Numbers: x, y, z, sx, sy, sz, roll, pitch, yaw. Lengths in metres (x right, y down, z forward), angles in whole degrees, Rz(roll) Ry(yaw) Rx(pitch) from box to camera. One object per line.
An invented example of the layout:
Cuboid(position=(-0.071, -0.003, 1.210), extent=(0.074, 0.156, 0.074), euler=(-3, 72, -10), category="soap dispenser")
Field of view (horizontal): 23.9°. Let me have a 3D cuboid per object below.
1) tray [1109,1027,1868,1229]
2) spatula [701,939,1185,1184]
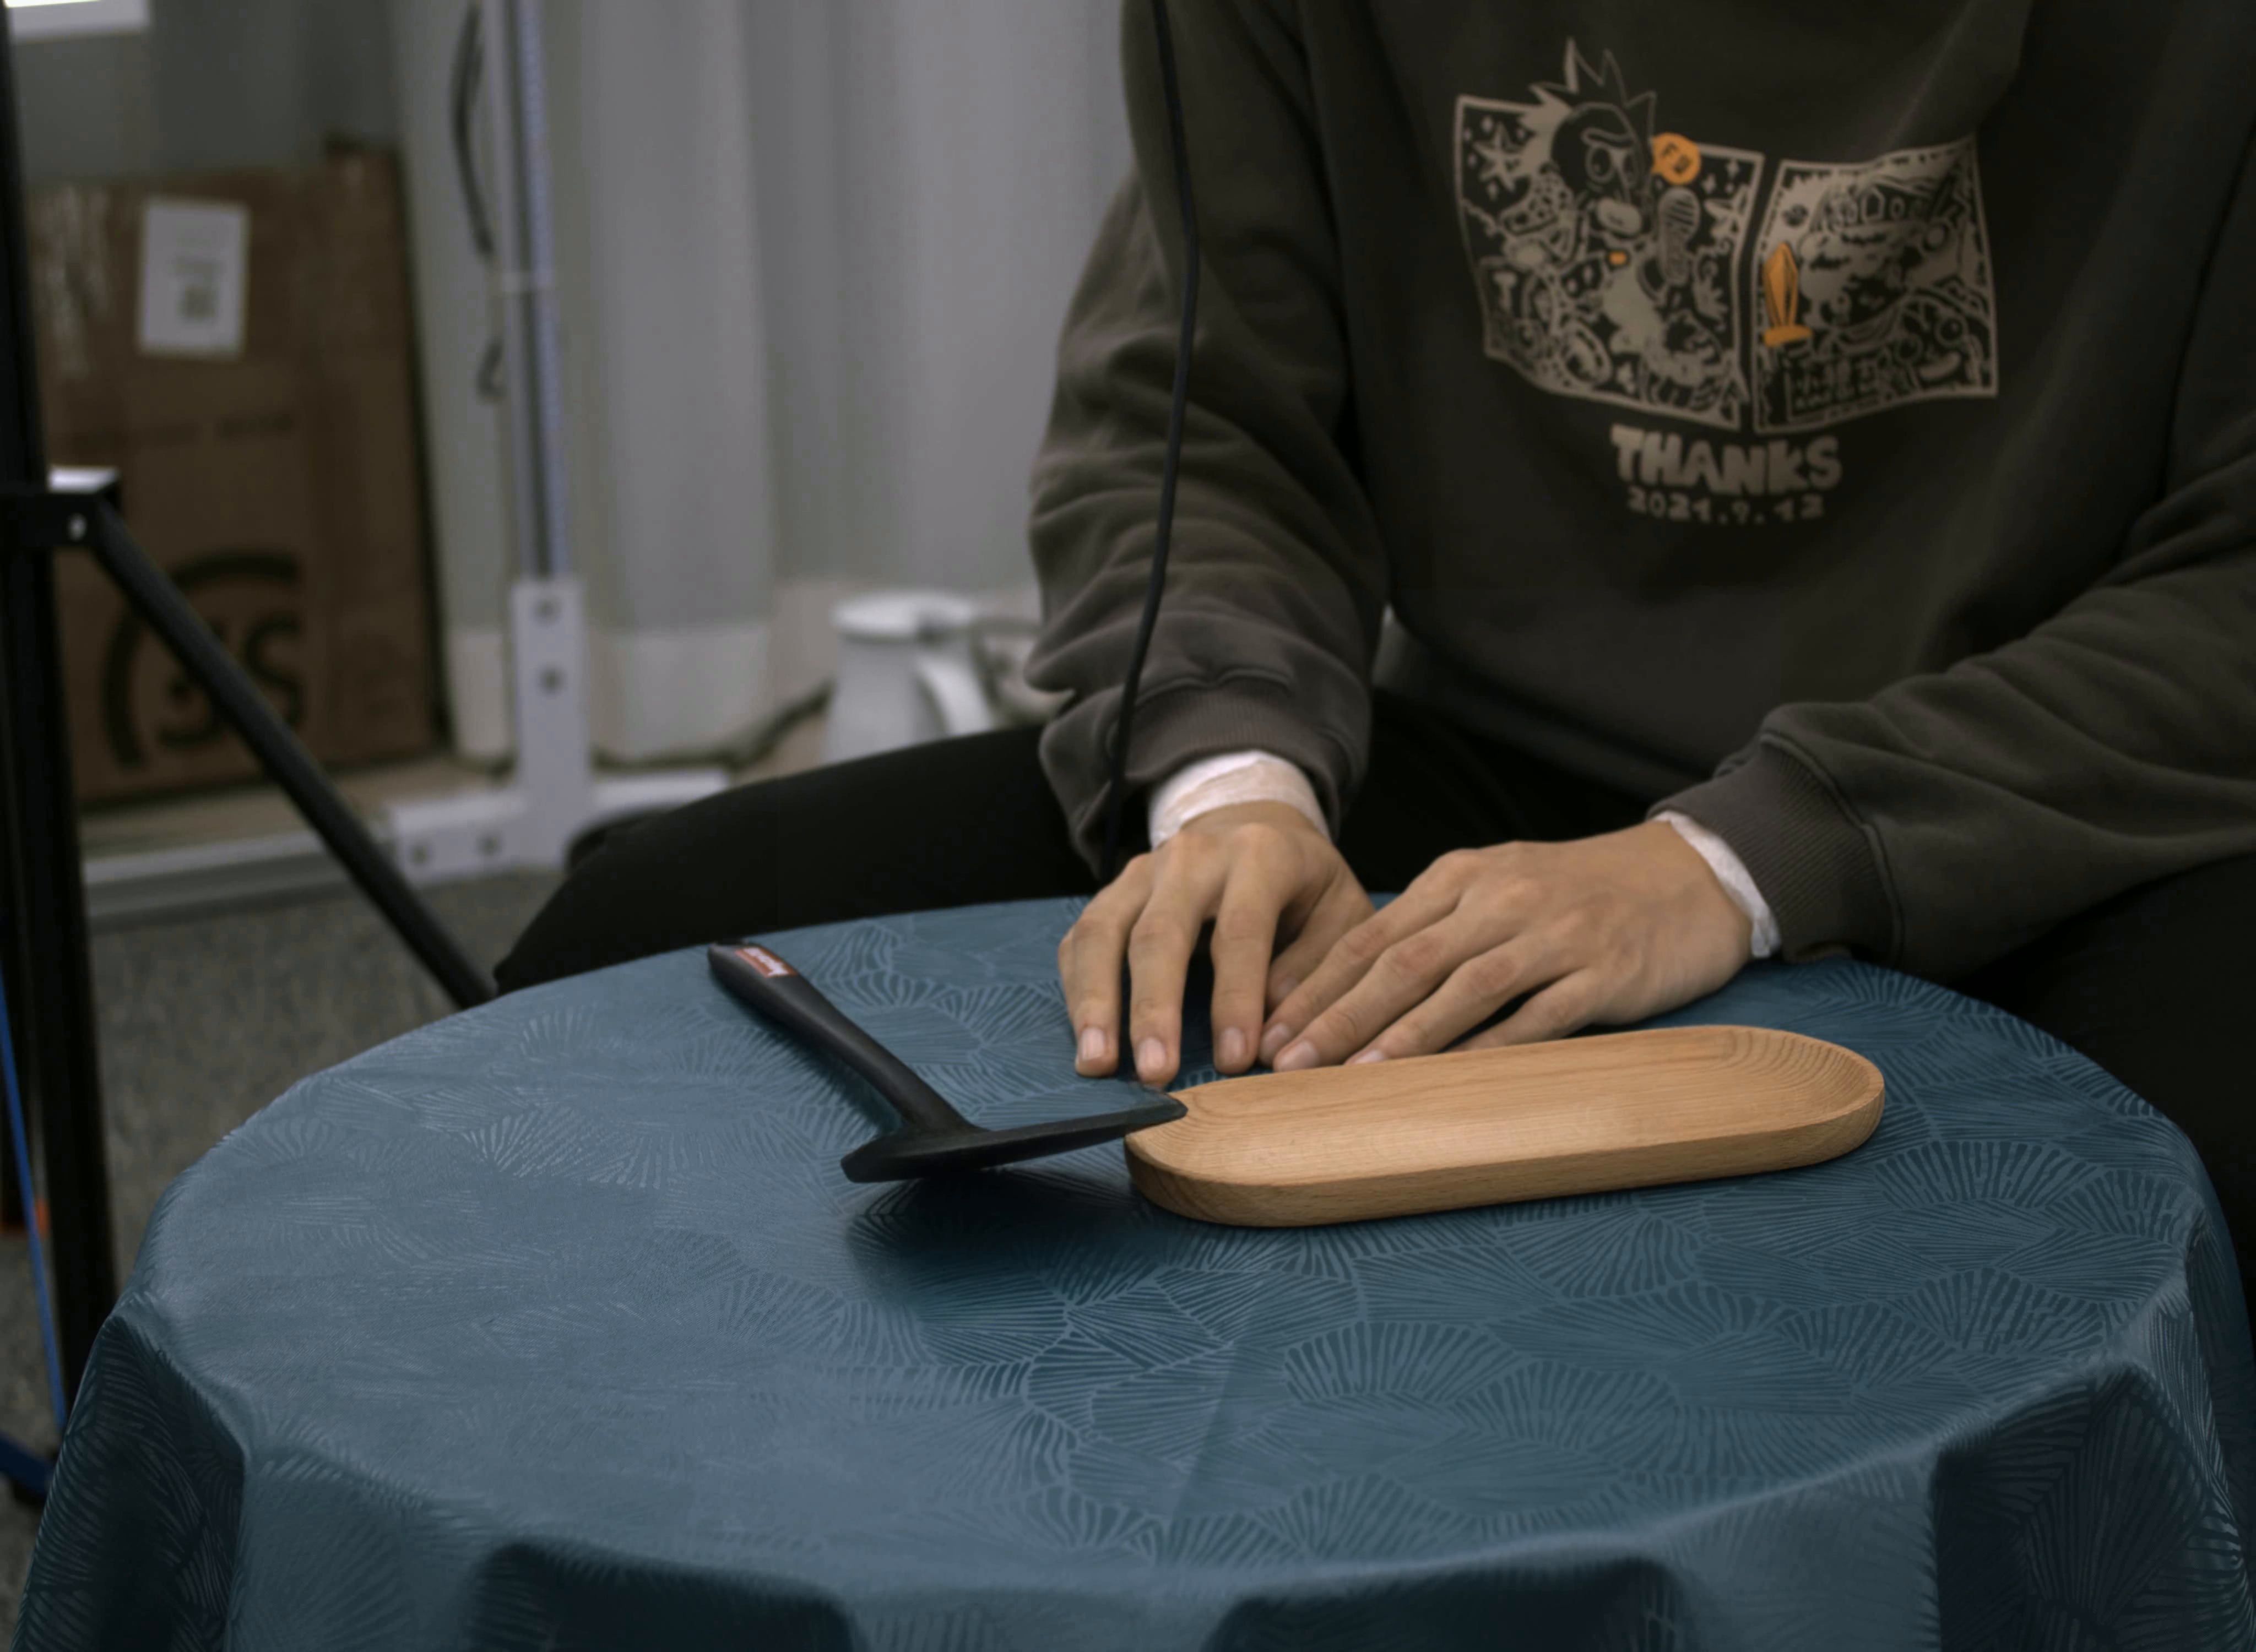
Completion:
Cuboid(position=(0.108, 0.090, 1.578), extent=(0.228, 0.020, 0.103), euler=(-7, 16, -10), category="tray")
Cuboid(position=(-0.082, 0.067, 1.655), extent=(0.098, 0.040, 0.332), euler=(-7, 16, -19), category="spatula")
